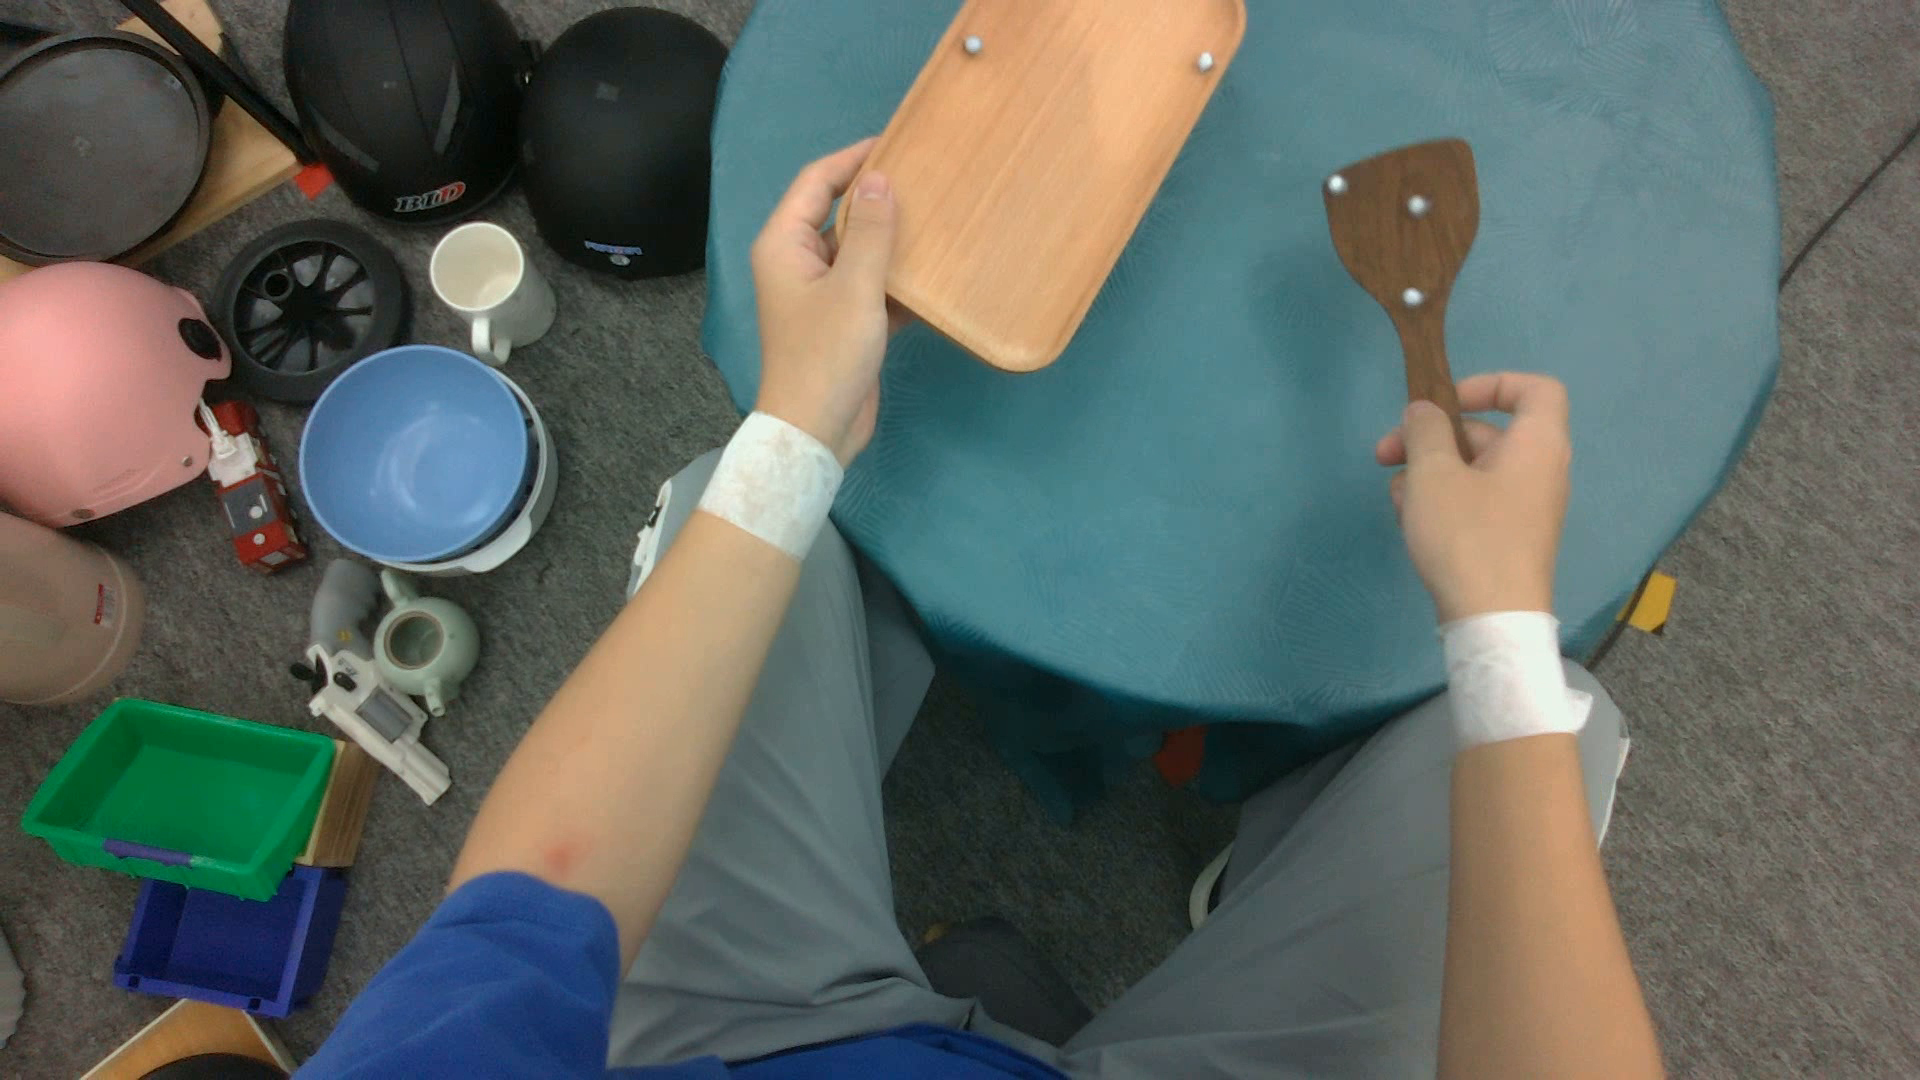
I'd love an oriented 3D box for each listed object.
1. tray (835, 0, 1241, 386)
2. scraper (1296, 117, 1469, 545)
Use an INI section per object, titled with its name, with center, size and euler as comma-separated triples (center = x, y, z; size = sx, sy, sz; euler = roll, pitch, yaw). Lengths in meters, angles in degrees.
[tray]
center = 0.044, -0.202, 0.695
size = 0.130, 0.023, 0.251
euler = 33, 75, -7
[scraper]
center = 0.215, -0.101, 0.671
size = 0.075, 0.011, 0.211
euler = -14, 75, 31
